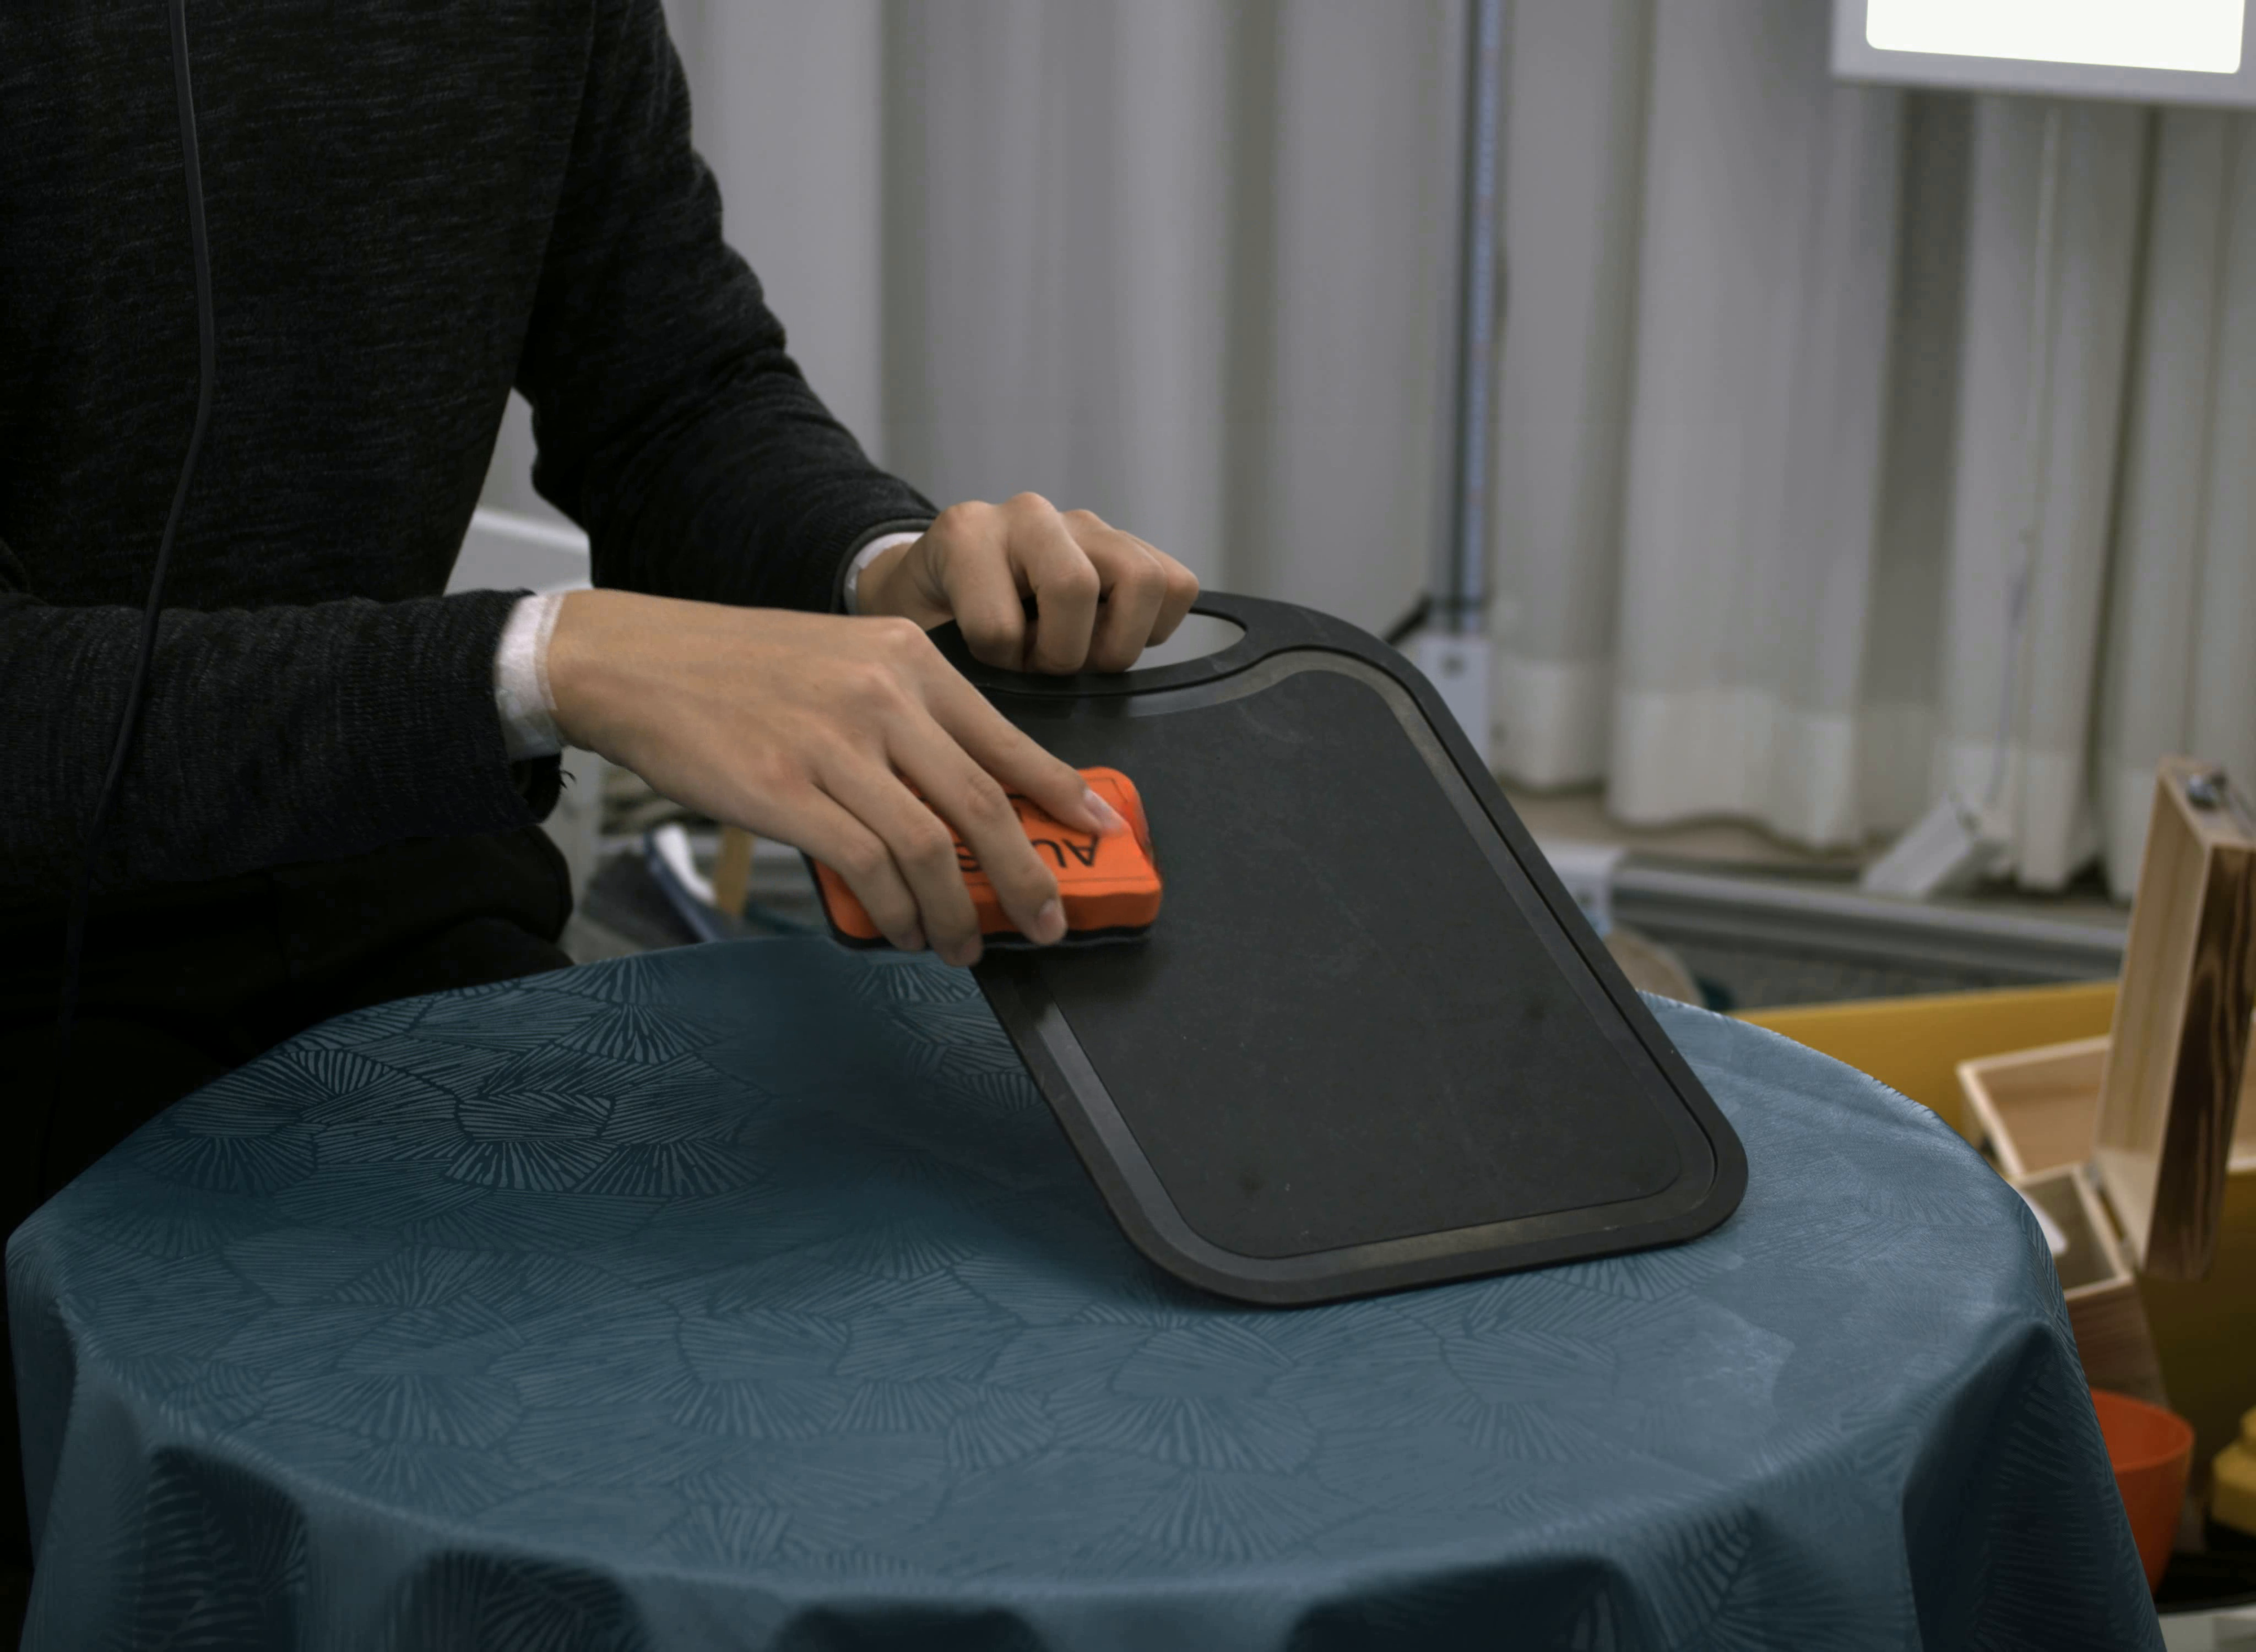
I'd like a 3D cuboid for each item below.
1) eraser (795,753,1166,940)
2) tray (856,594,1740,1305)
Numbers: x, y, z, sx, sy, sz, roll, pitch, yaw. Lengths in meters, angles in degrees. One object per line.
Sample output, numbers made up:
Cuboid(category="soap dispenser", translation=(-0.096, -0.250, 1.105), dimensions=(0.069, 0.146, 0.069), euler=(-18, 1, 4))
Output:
Cuboid(category="eraser", translation=(-0.046, 0.006, 1.629), dimensions=(0.108, 0.023, 0.058), euler=(-4, 41, -20))
Cuboid(category="tray", translation=(0.046, 0.028, 1.654), dimensions=(0.212, 0.010, 0.321), euler=(-6, 44, -25))
